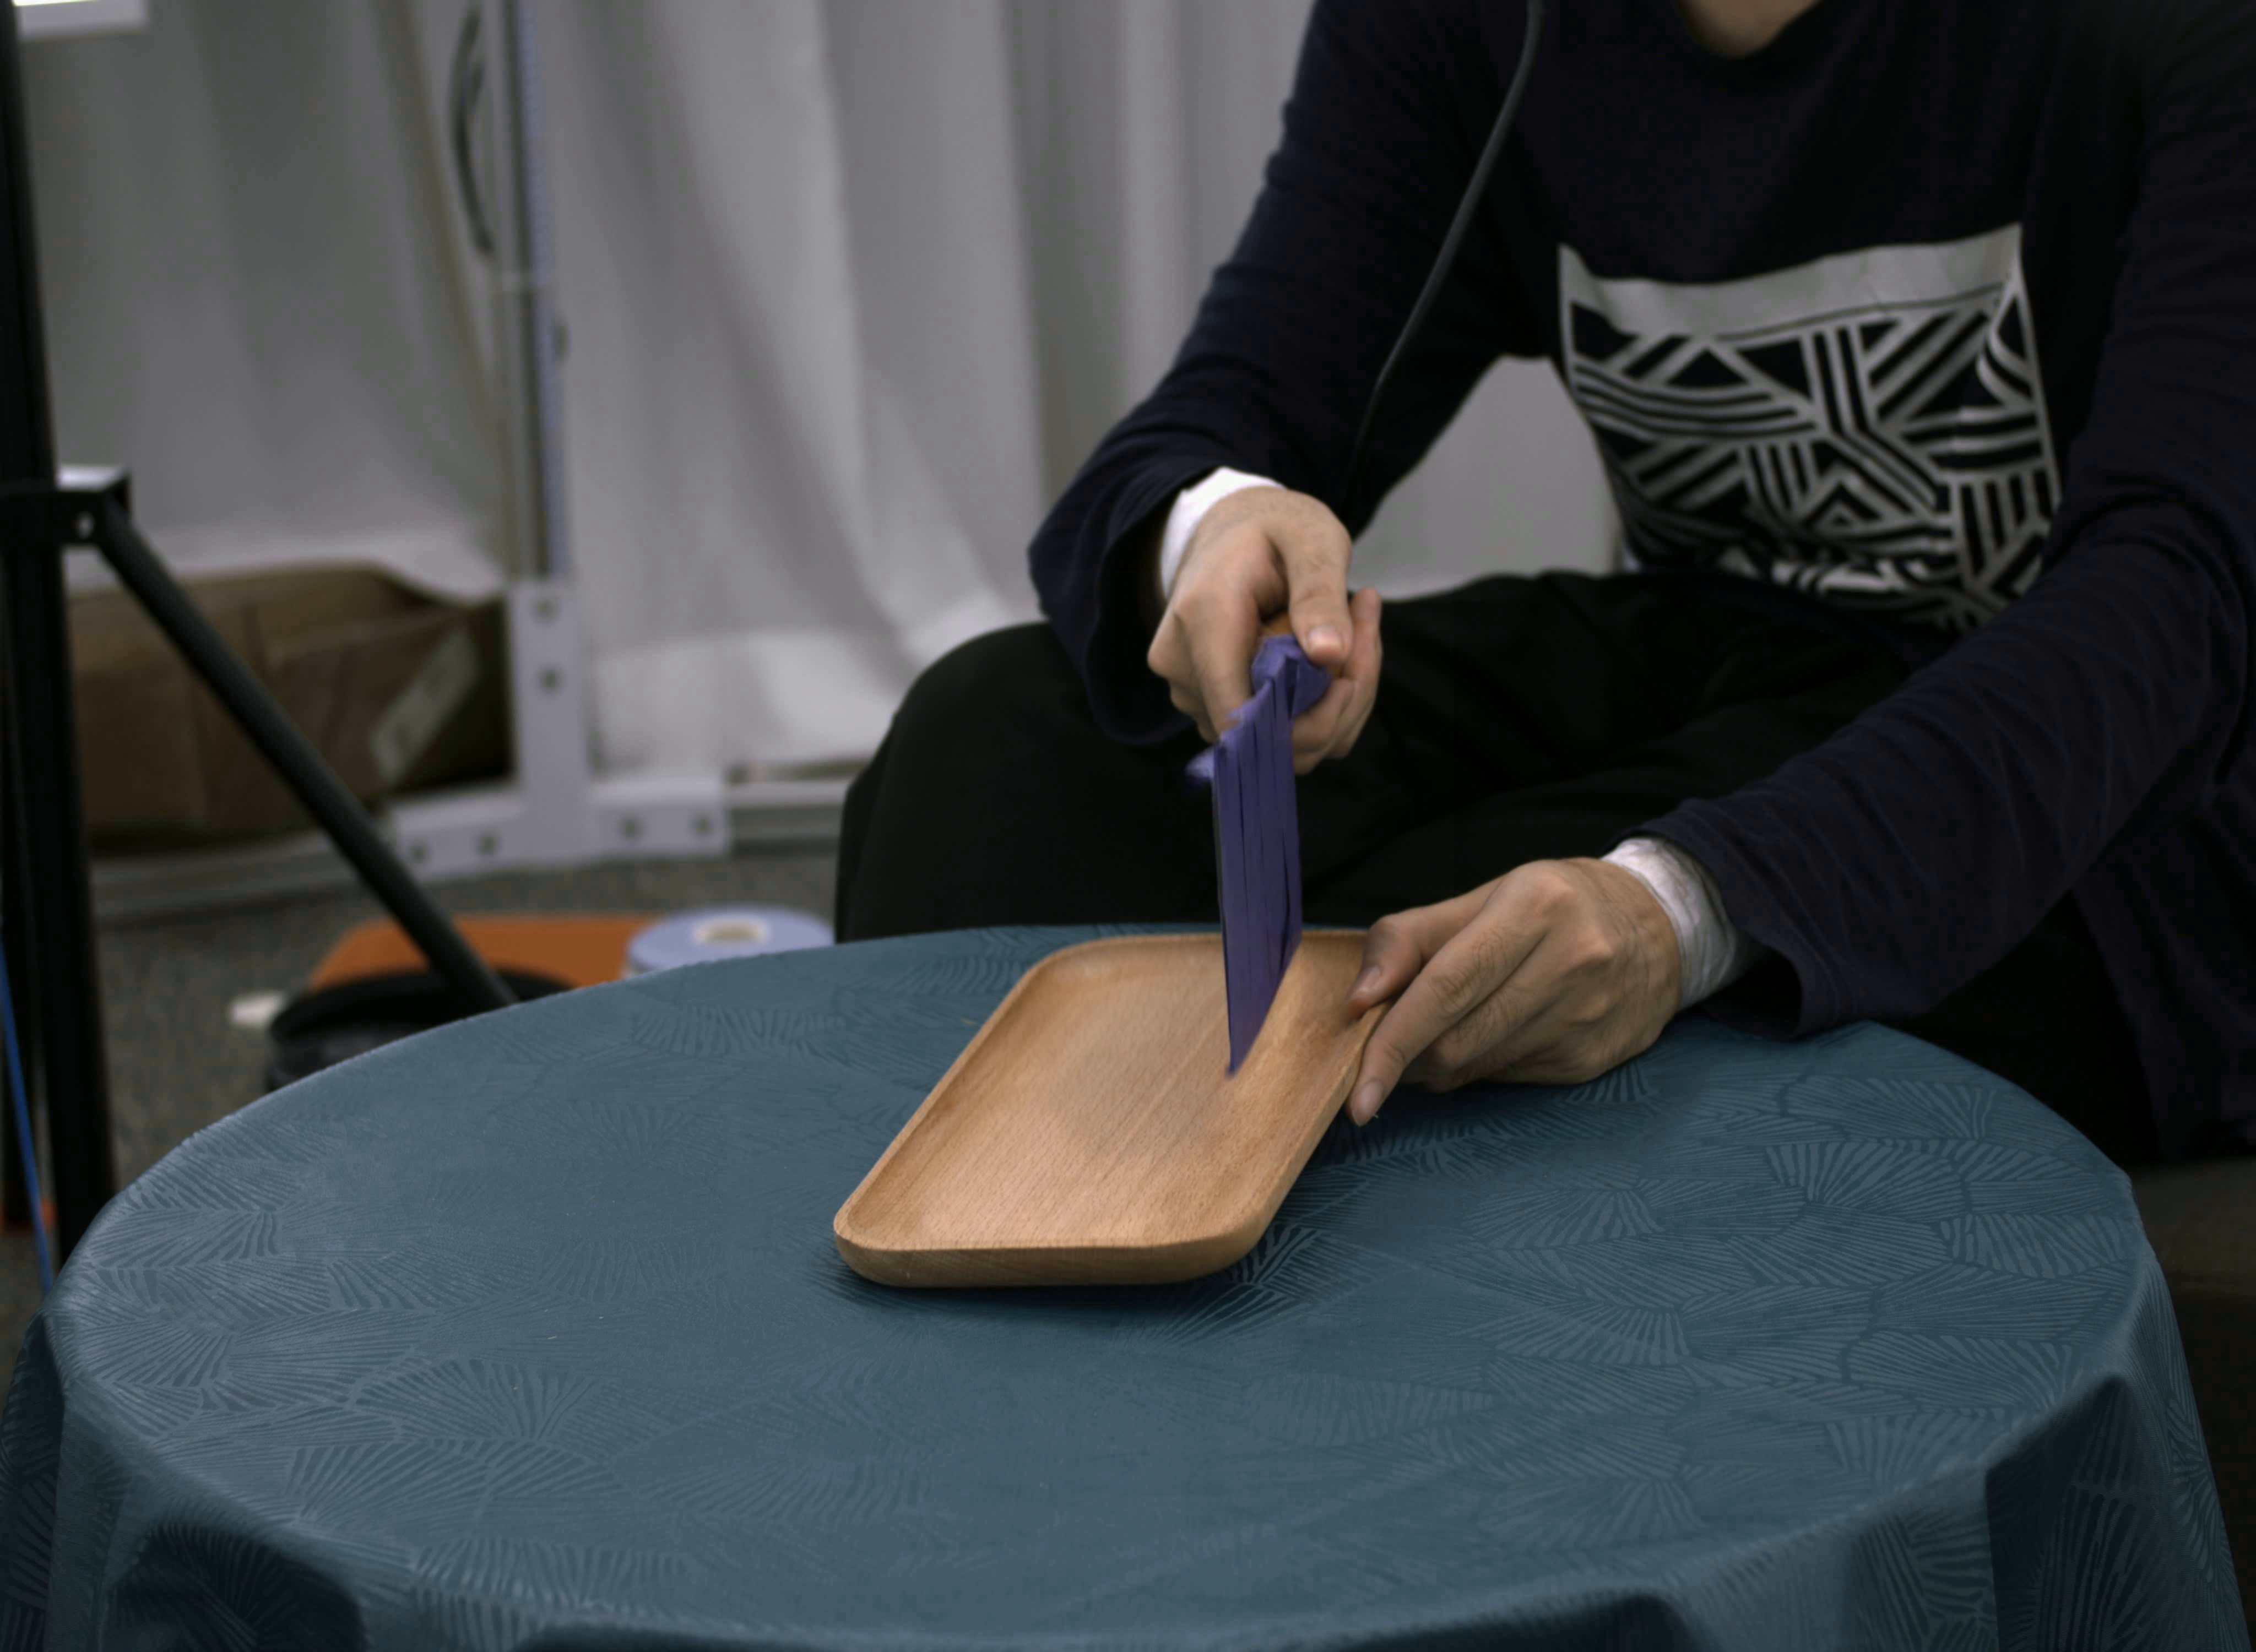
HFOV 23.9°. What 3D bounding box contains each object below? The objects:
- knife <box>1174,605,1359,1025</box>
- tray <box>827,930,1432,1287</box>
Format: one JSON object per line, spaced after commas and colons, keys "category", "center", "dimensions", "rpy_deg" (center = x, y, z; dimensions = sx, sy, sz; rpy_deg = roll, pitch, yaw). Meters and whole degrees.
{"category": "knife", "center": [0.041, -0.005, 1.641], "dimensions": [0.032, 0.104, 0.313], "rpy_deg": [-1, 9, 10]}
{"category": "tray", "center": [0.005, 0.082, 1.582], "dimensions": [0.132, 0.023, 0.248], "rpy_deg": [1, 19, 19]}
